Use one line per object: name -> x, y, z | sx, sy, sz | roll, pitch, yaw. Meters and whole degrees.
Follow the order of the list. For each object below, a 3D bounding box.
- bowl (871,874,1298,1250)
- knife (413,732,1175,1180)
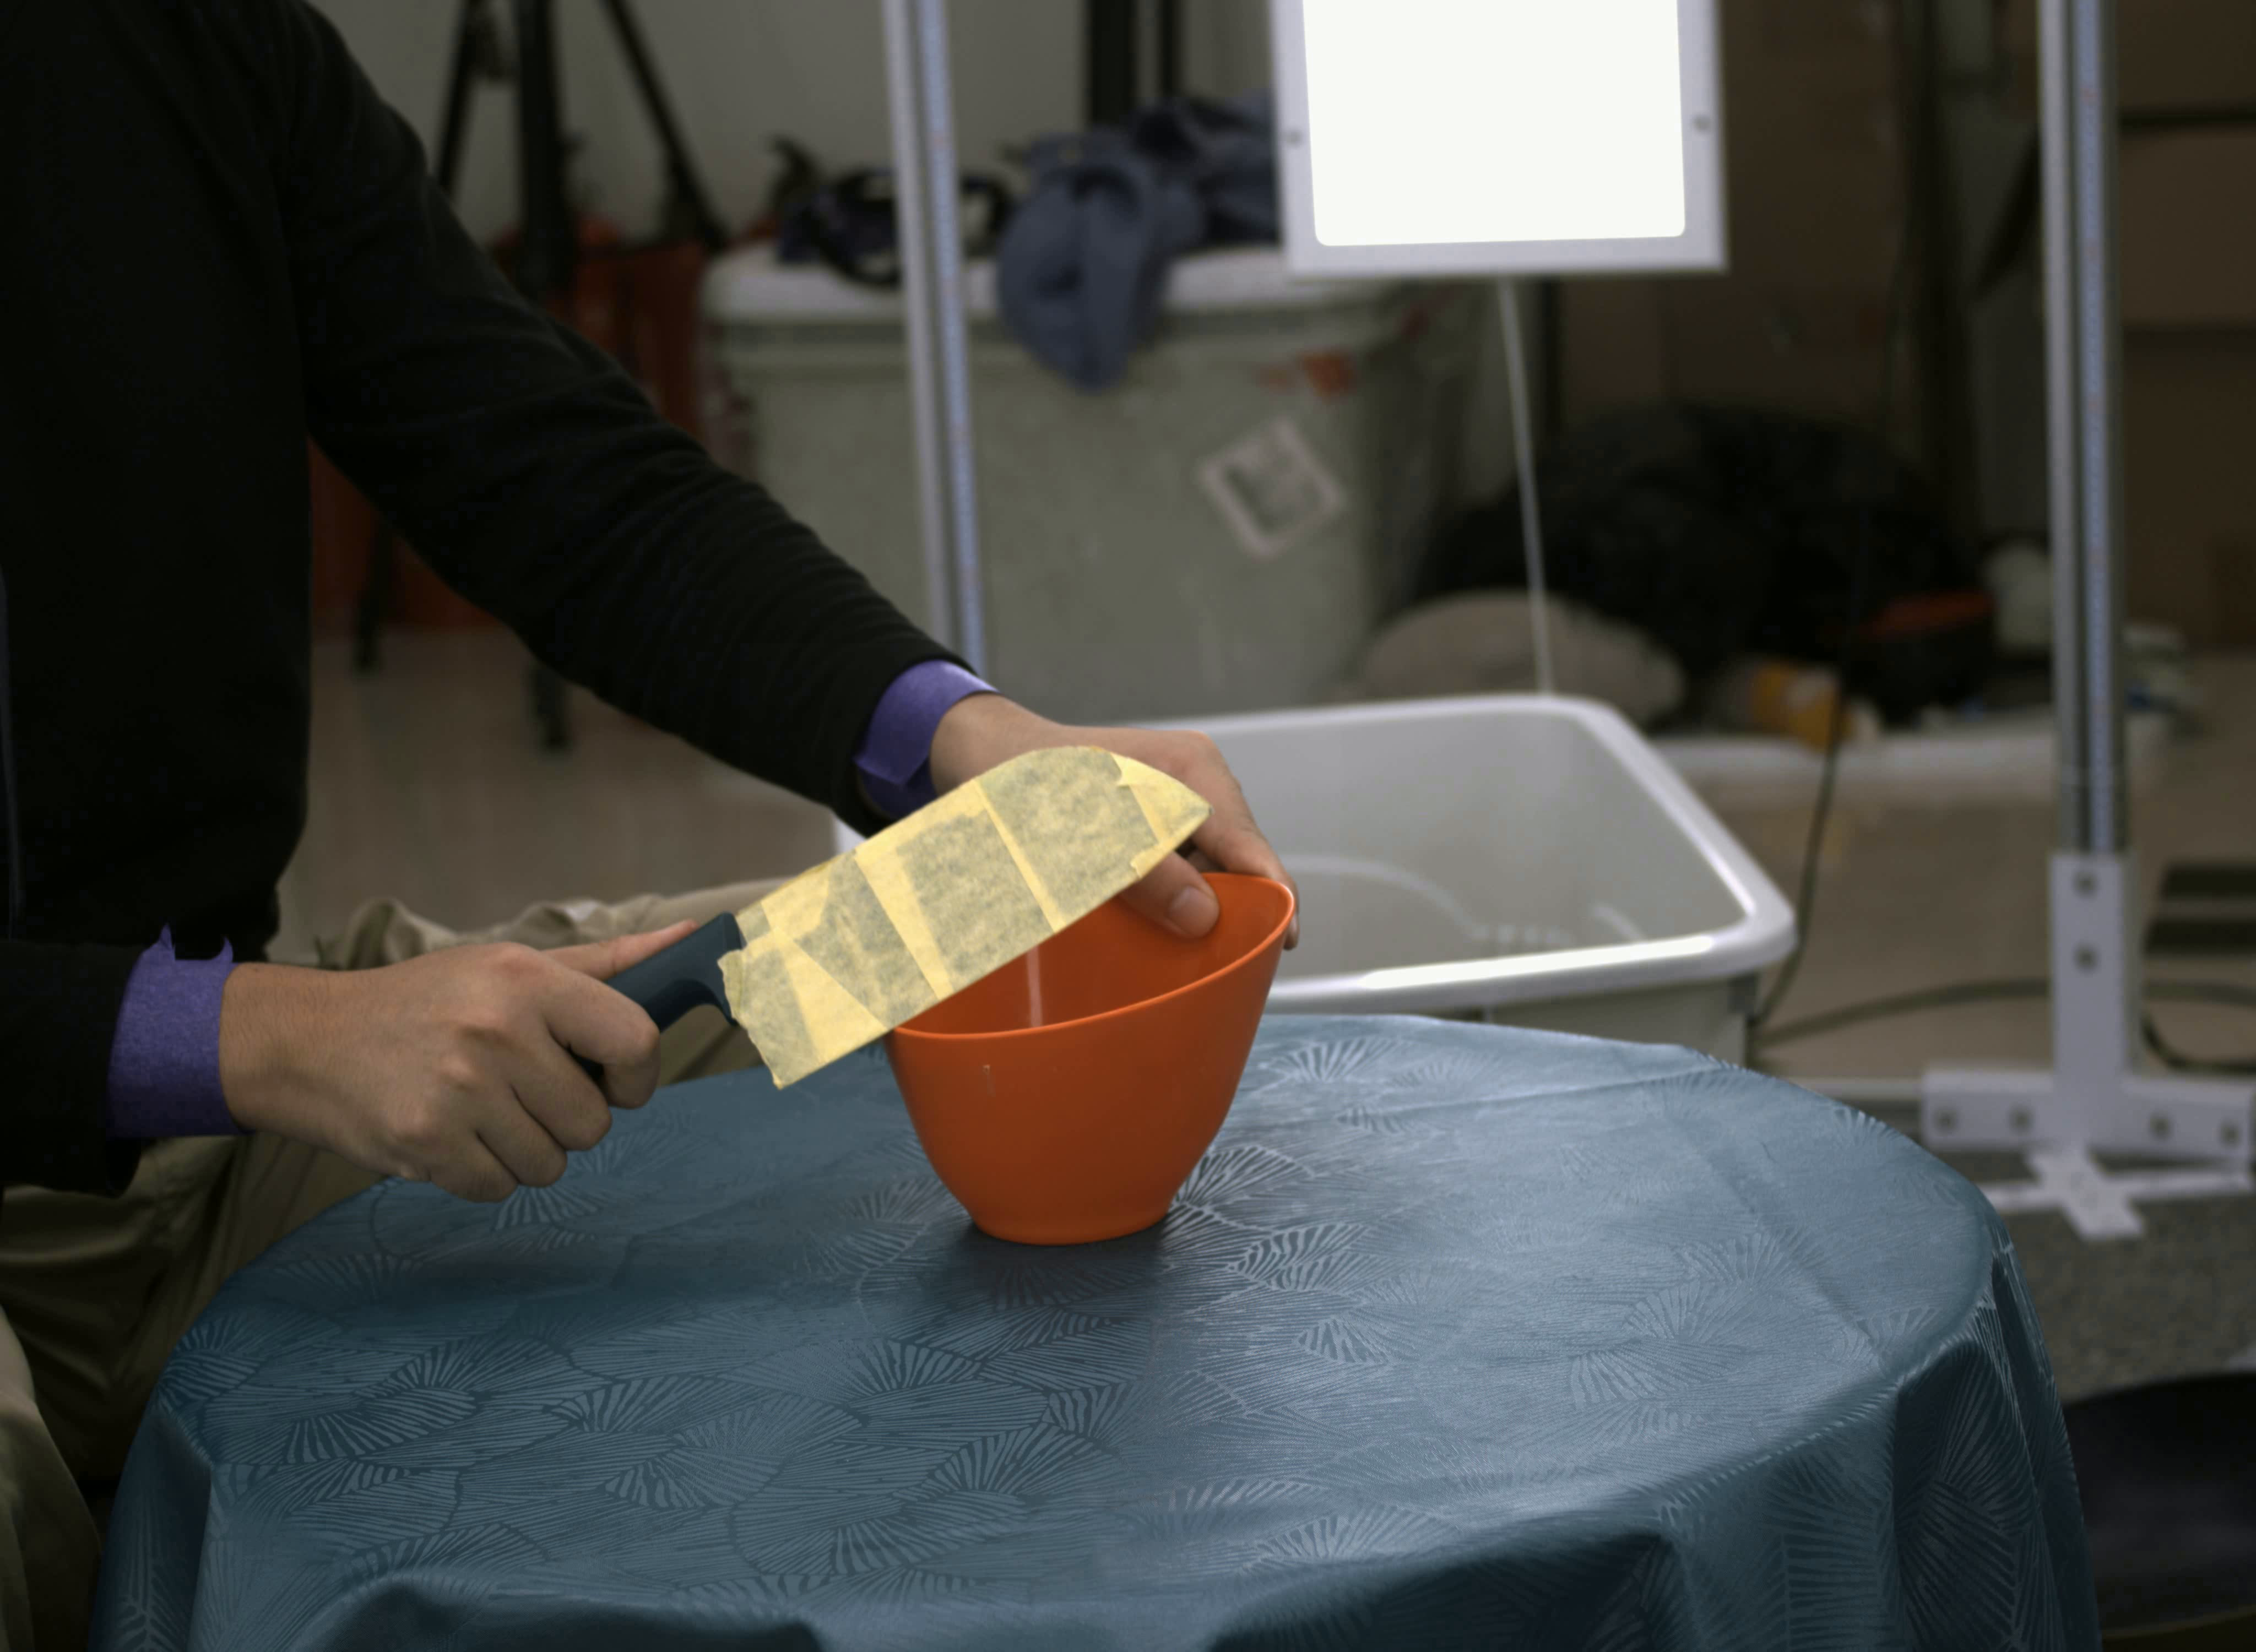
bowl -> -0.012, 0.083, 1.868 | 0.147, 0.105, 0.148 | -5, 15, 0
knife -> -0.111, 0.049, 1.861 | 0.290, 0.027, 0.081 | -29, 52, 4
